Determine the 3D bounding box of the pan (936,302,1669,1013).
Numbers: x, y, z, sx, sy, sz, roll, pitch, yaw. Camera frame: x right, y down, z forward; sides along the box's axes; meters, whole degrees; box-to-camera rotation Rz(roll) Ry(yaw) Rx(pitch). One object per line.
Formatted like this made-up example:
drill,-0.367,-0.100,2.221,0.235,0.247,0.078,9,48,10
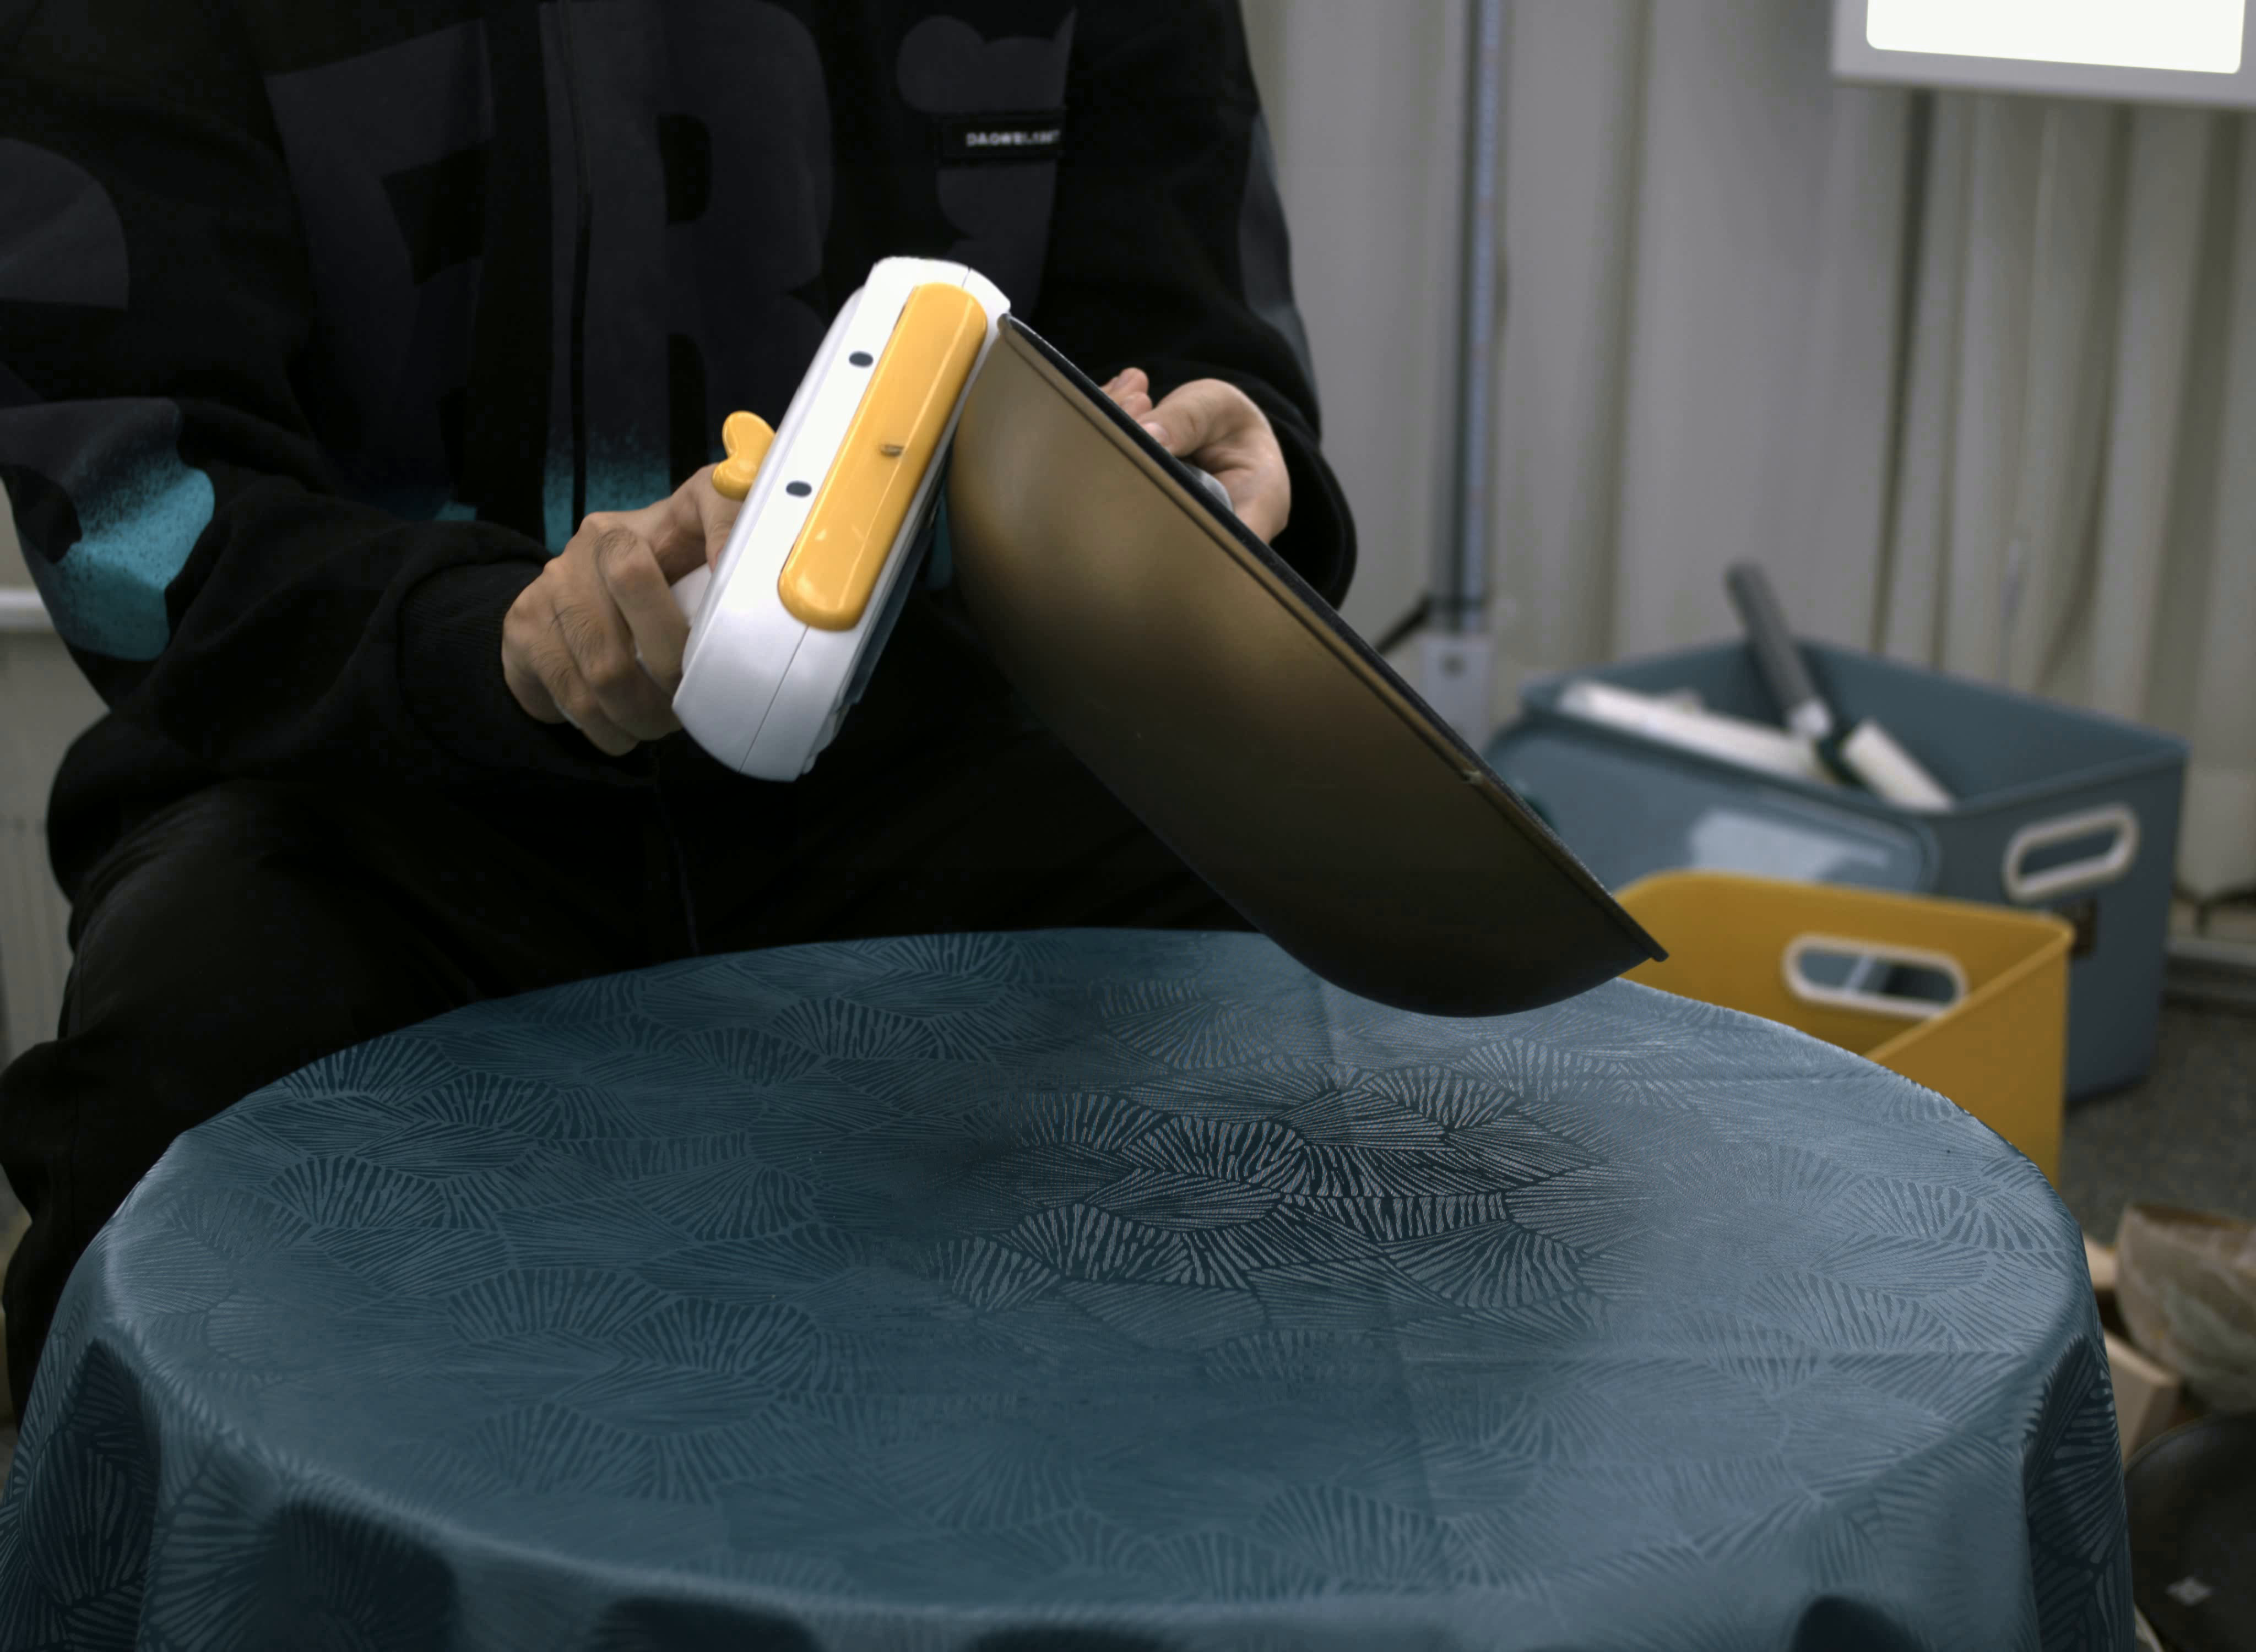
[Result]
pan,0.018,-0.059,1.687,0.291,0.087,0.459,42,3,-20

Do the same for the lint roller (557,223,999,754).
lint roller,-0.118,-0.079,1.653,0.074,0.193,0.191,26,49,-14
